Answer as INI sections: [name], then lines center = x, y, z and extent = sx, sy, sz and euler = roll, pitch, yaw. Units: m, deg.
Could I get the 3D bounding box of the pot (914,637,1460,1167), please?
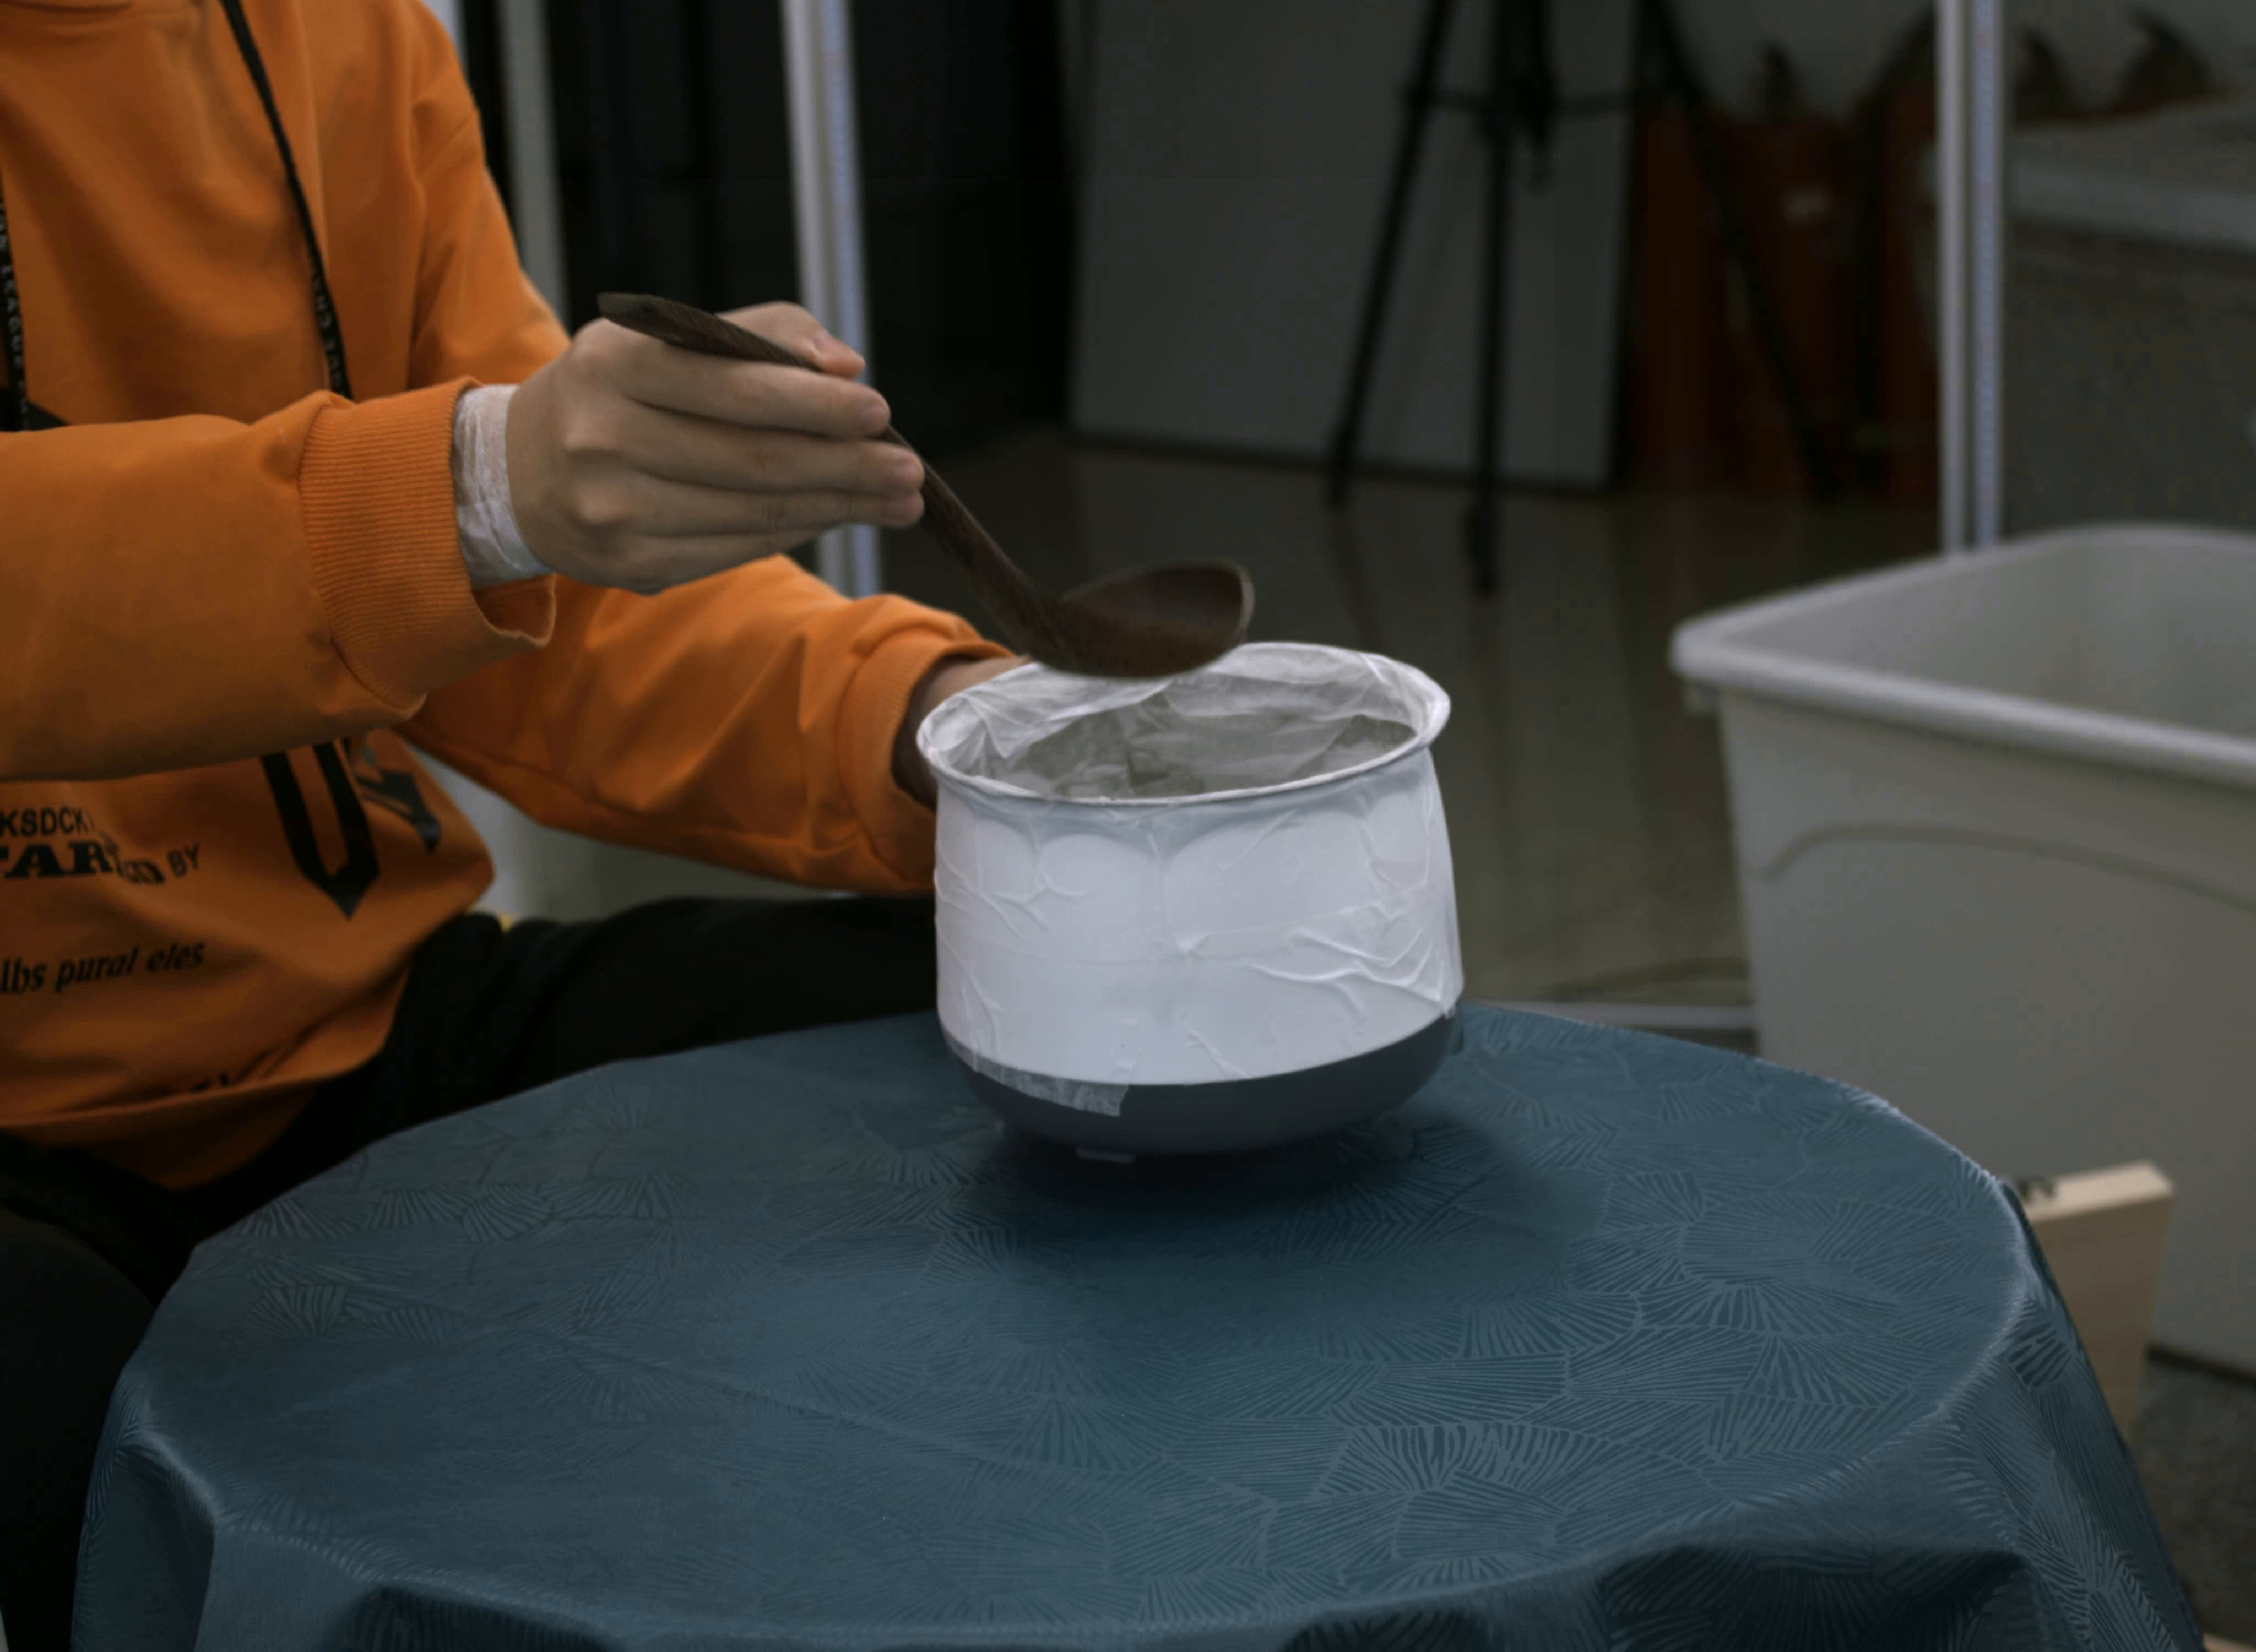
[pot]
center = 0.013, 0.017, 1.812
extent = 0.175, 0.138, 0.236
euler = -9, 18, -14

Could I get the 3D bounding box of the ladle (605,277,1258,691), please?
[ladle]
center = -0.057, -0.120, 1.684
extent = 0.076, 0.072, 0.270
euler = 1, -29, 43
